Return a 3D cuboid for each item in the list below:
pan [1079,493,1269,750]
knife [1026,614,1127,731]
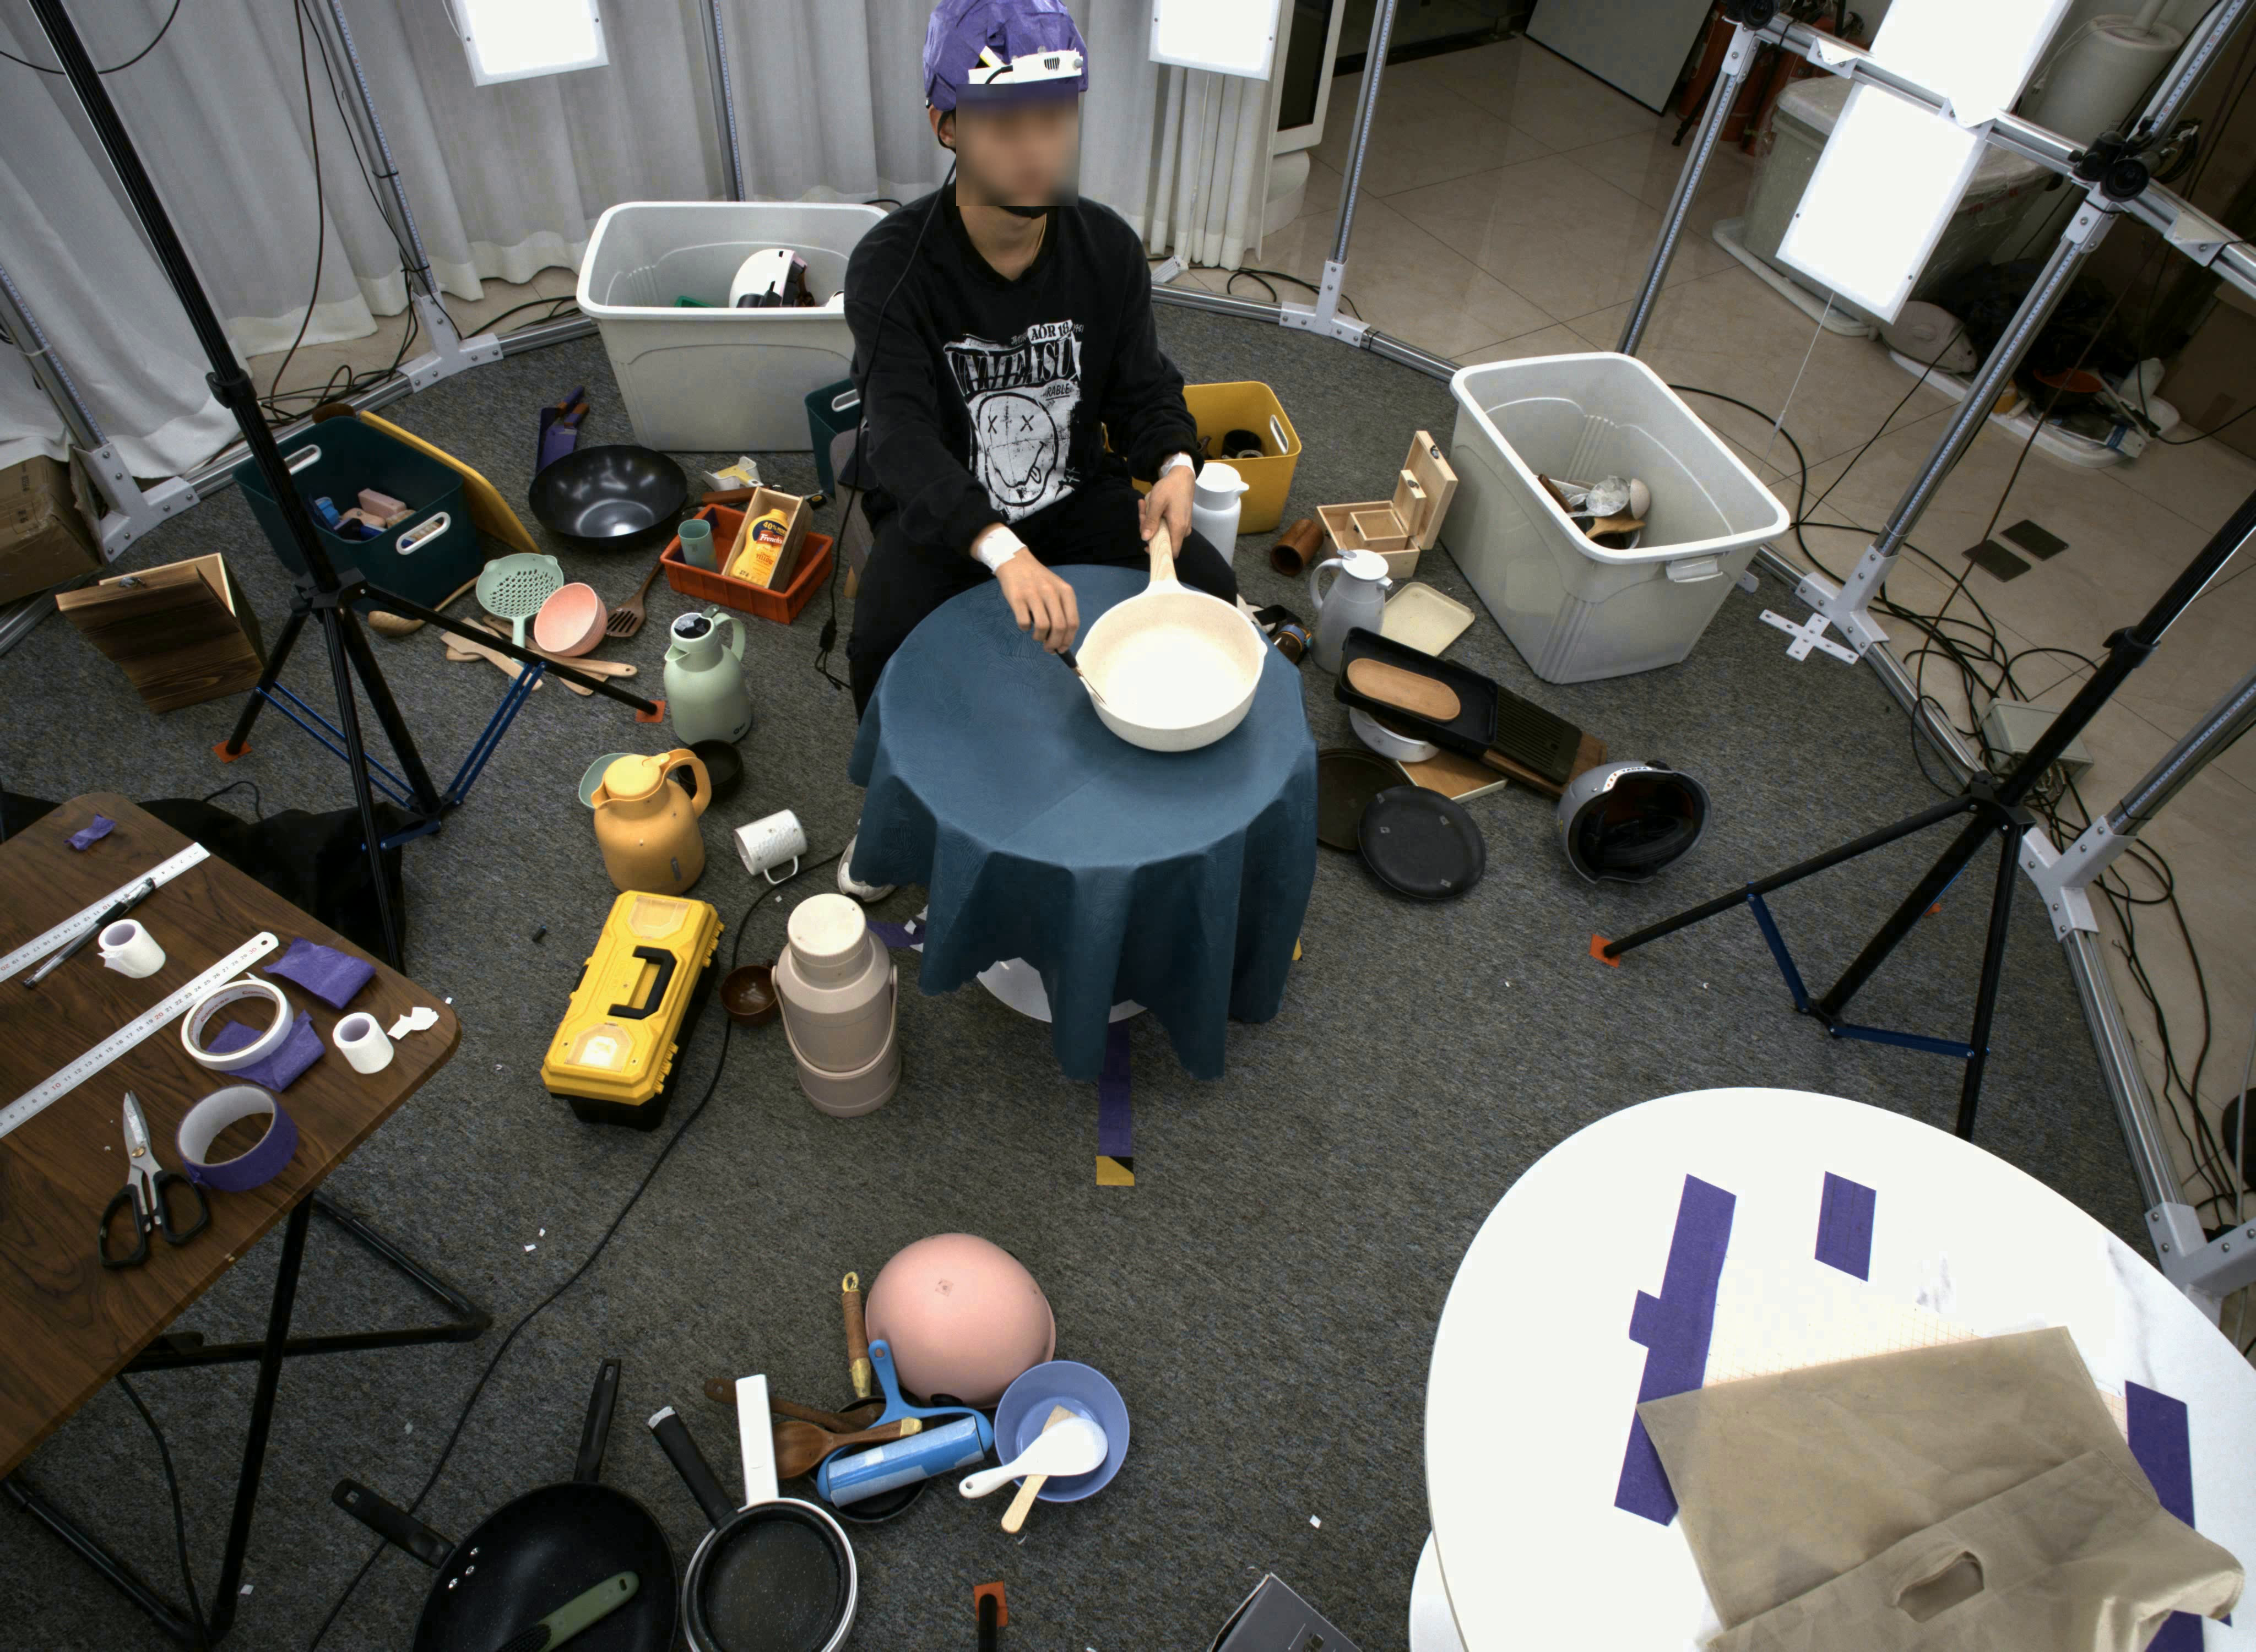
[{"bbox_3d":[0.059,-0.291,1.834,0.263,0.099,0.445,-7,54,3],"label":"pan"},{"bbox_3d":[-0.063,-0.199,1.695,0.017,0.221,0.026,-47,31,-7],"label":"knife"}]
